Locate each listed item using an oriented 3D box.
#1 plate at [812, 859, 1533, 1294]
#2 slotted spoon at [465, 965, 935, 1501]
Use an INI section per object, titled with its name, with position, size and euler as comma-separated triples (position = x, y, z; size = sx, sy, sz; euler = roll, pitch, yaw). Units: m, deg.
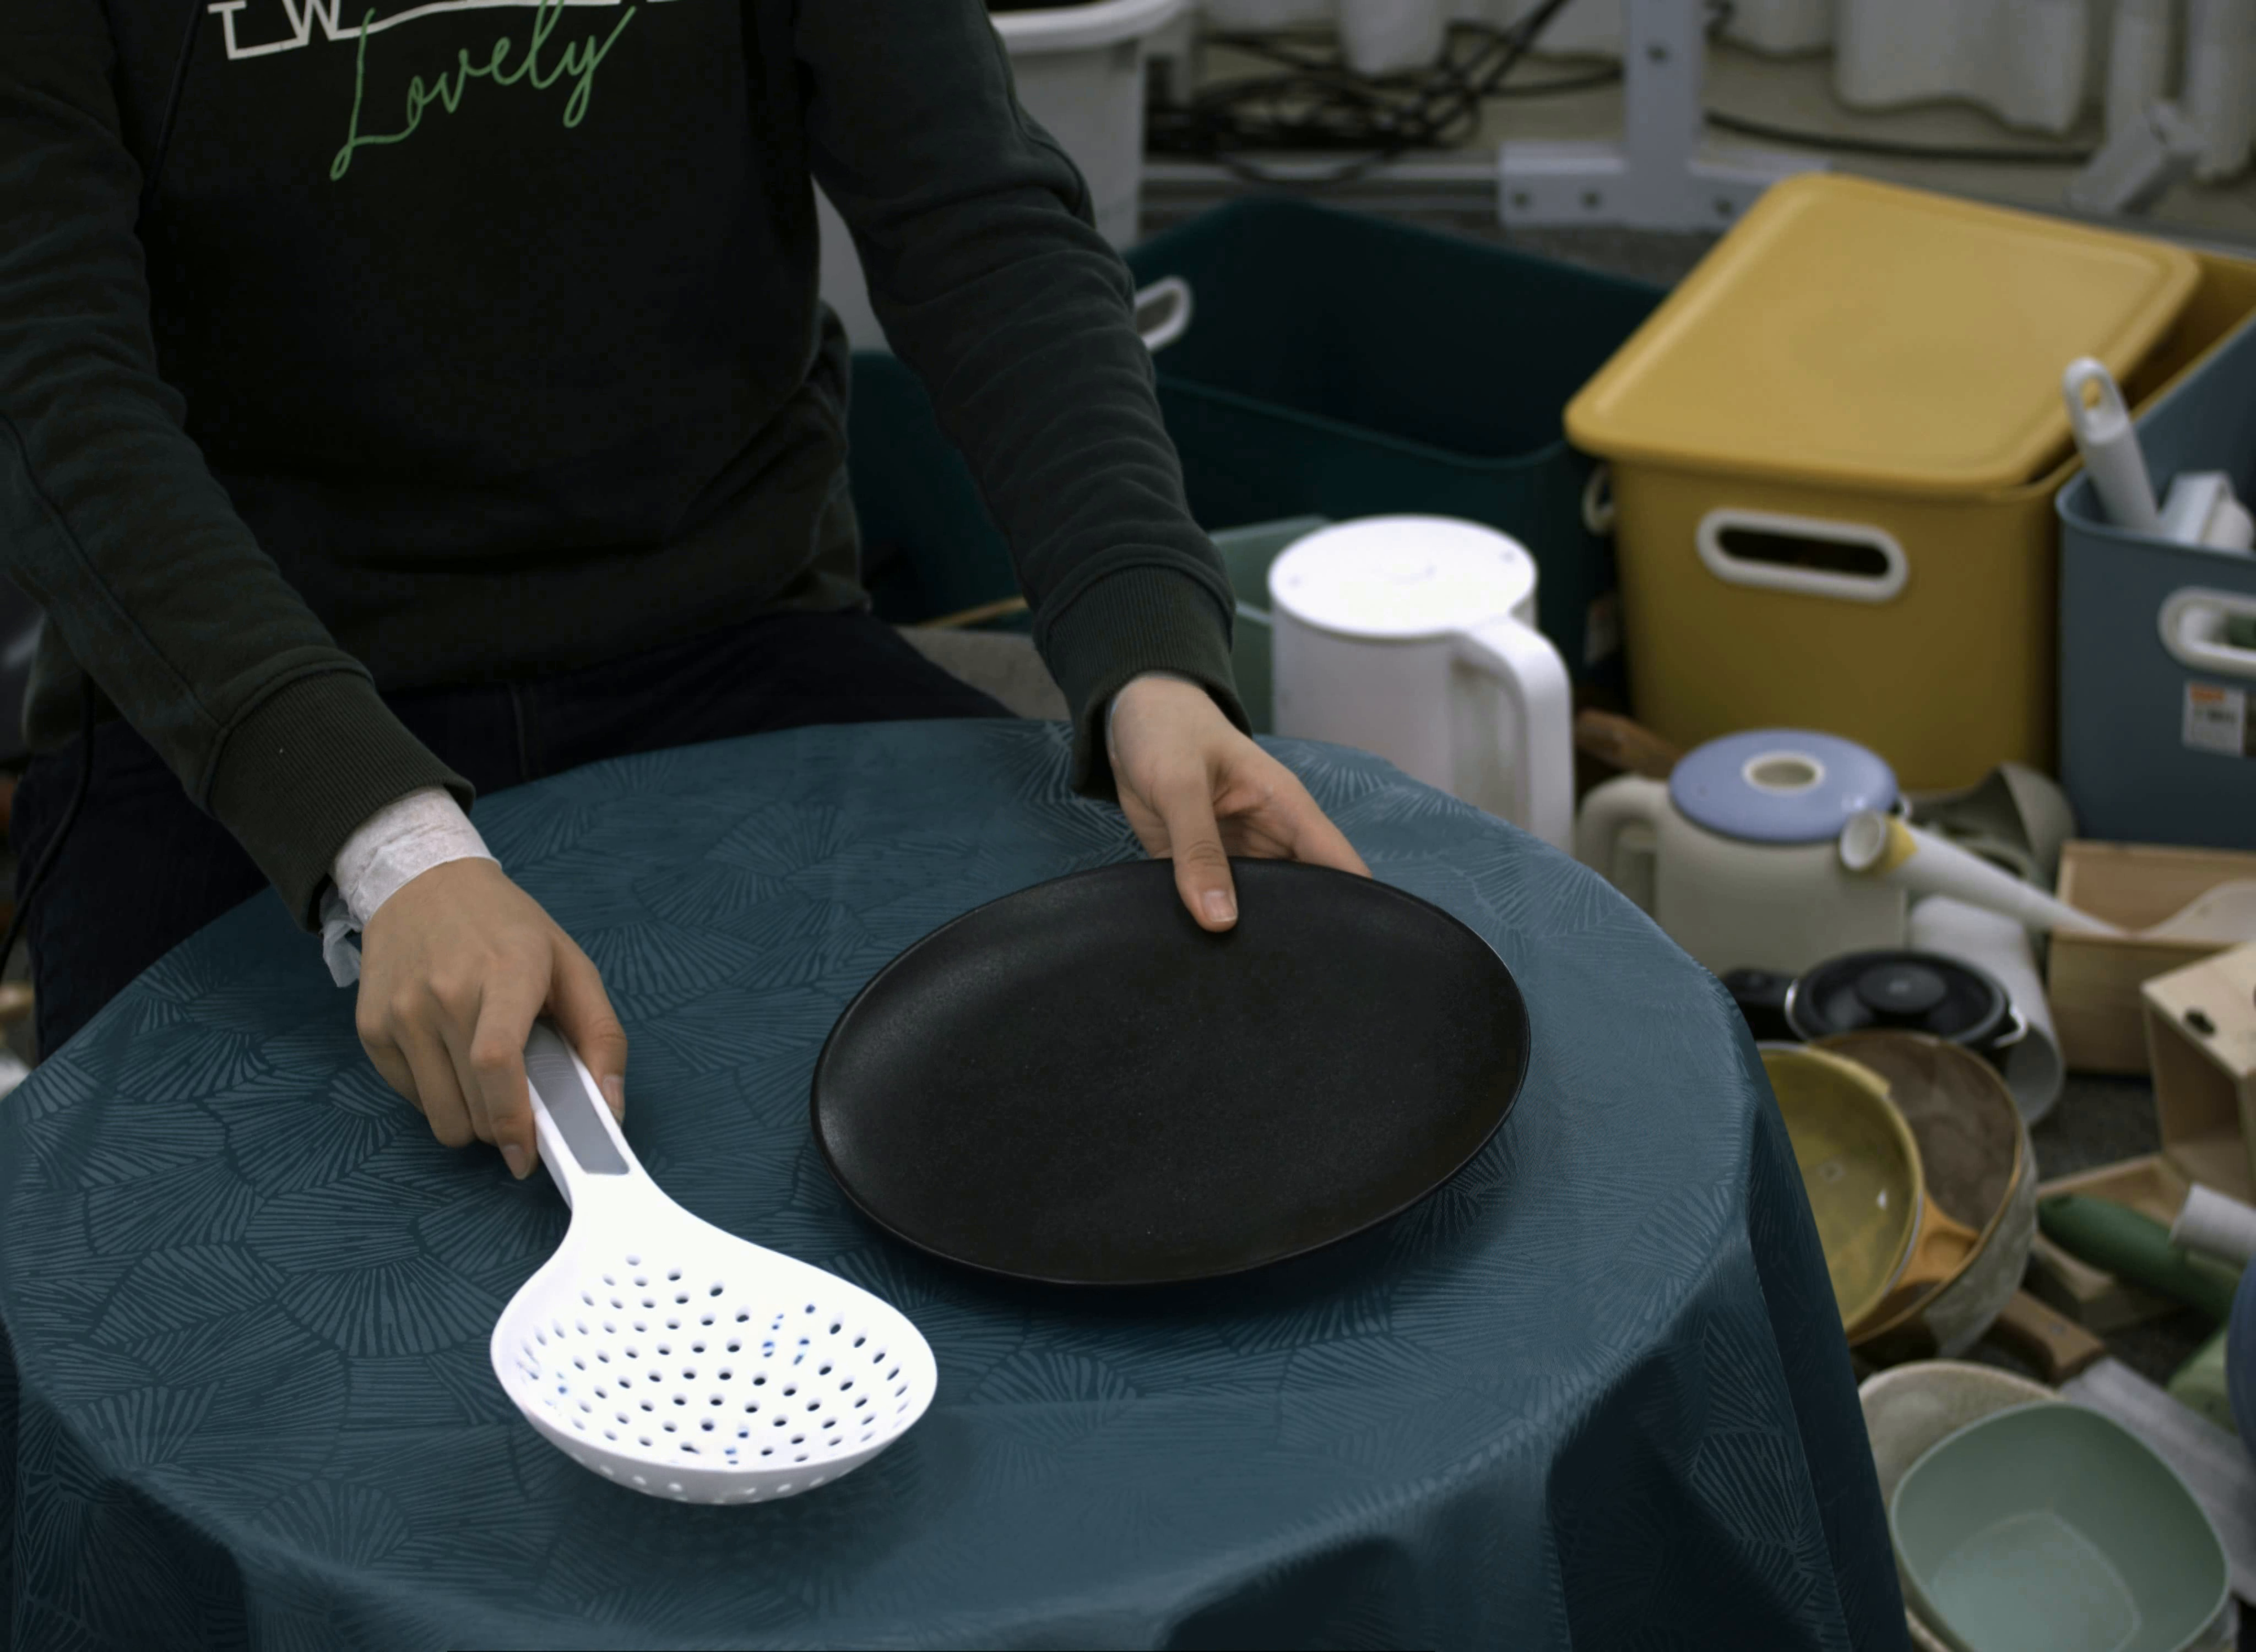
[plate]
position = 0.016, 0.086, 1.883
size = 0.243, 0.023, 0.248
euler = -5, 32, 3
[slotted spoon]
position = -0.163, 0.125, 1.805
size = 0.136, 0.045, 0.353
euler = -1, 28, -21
